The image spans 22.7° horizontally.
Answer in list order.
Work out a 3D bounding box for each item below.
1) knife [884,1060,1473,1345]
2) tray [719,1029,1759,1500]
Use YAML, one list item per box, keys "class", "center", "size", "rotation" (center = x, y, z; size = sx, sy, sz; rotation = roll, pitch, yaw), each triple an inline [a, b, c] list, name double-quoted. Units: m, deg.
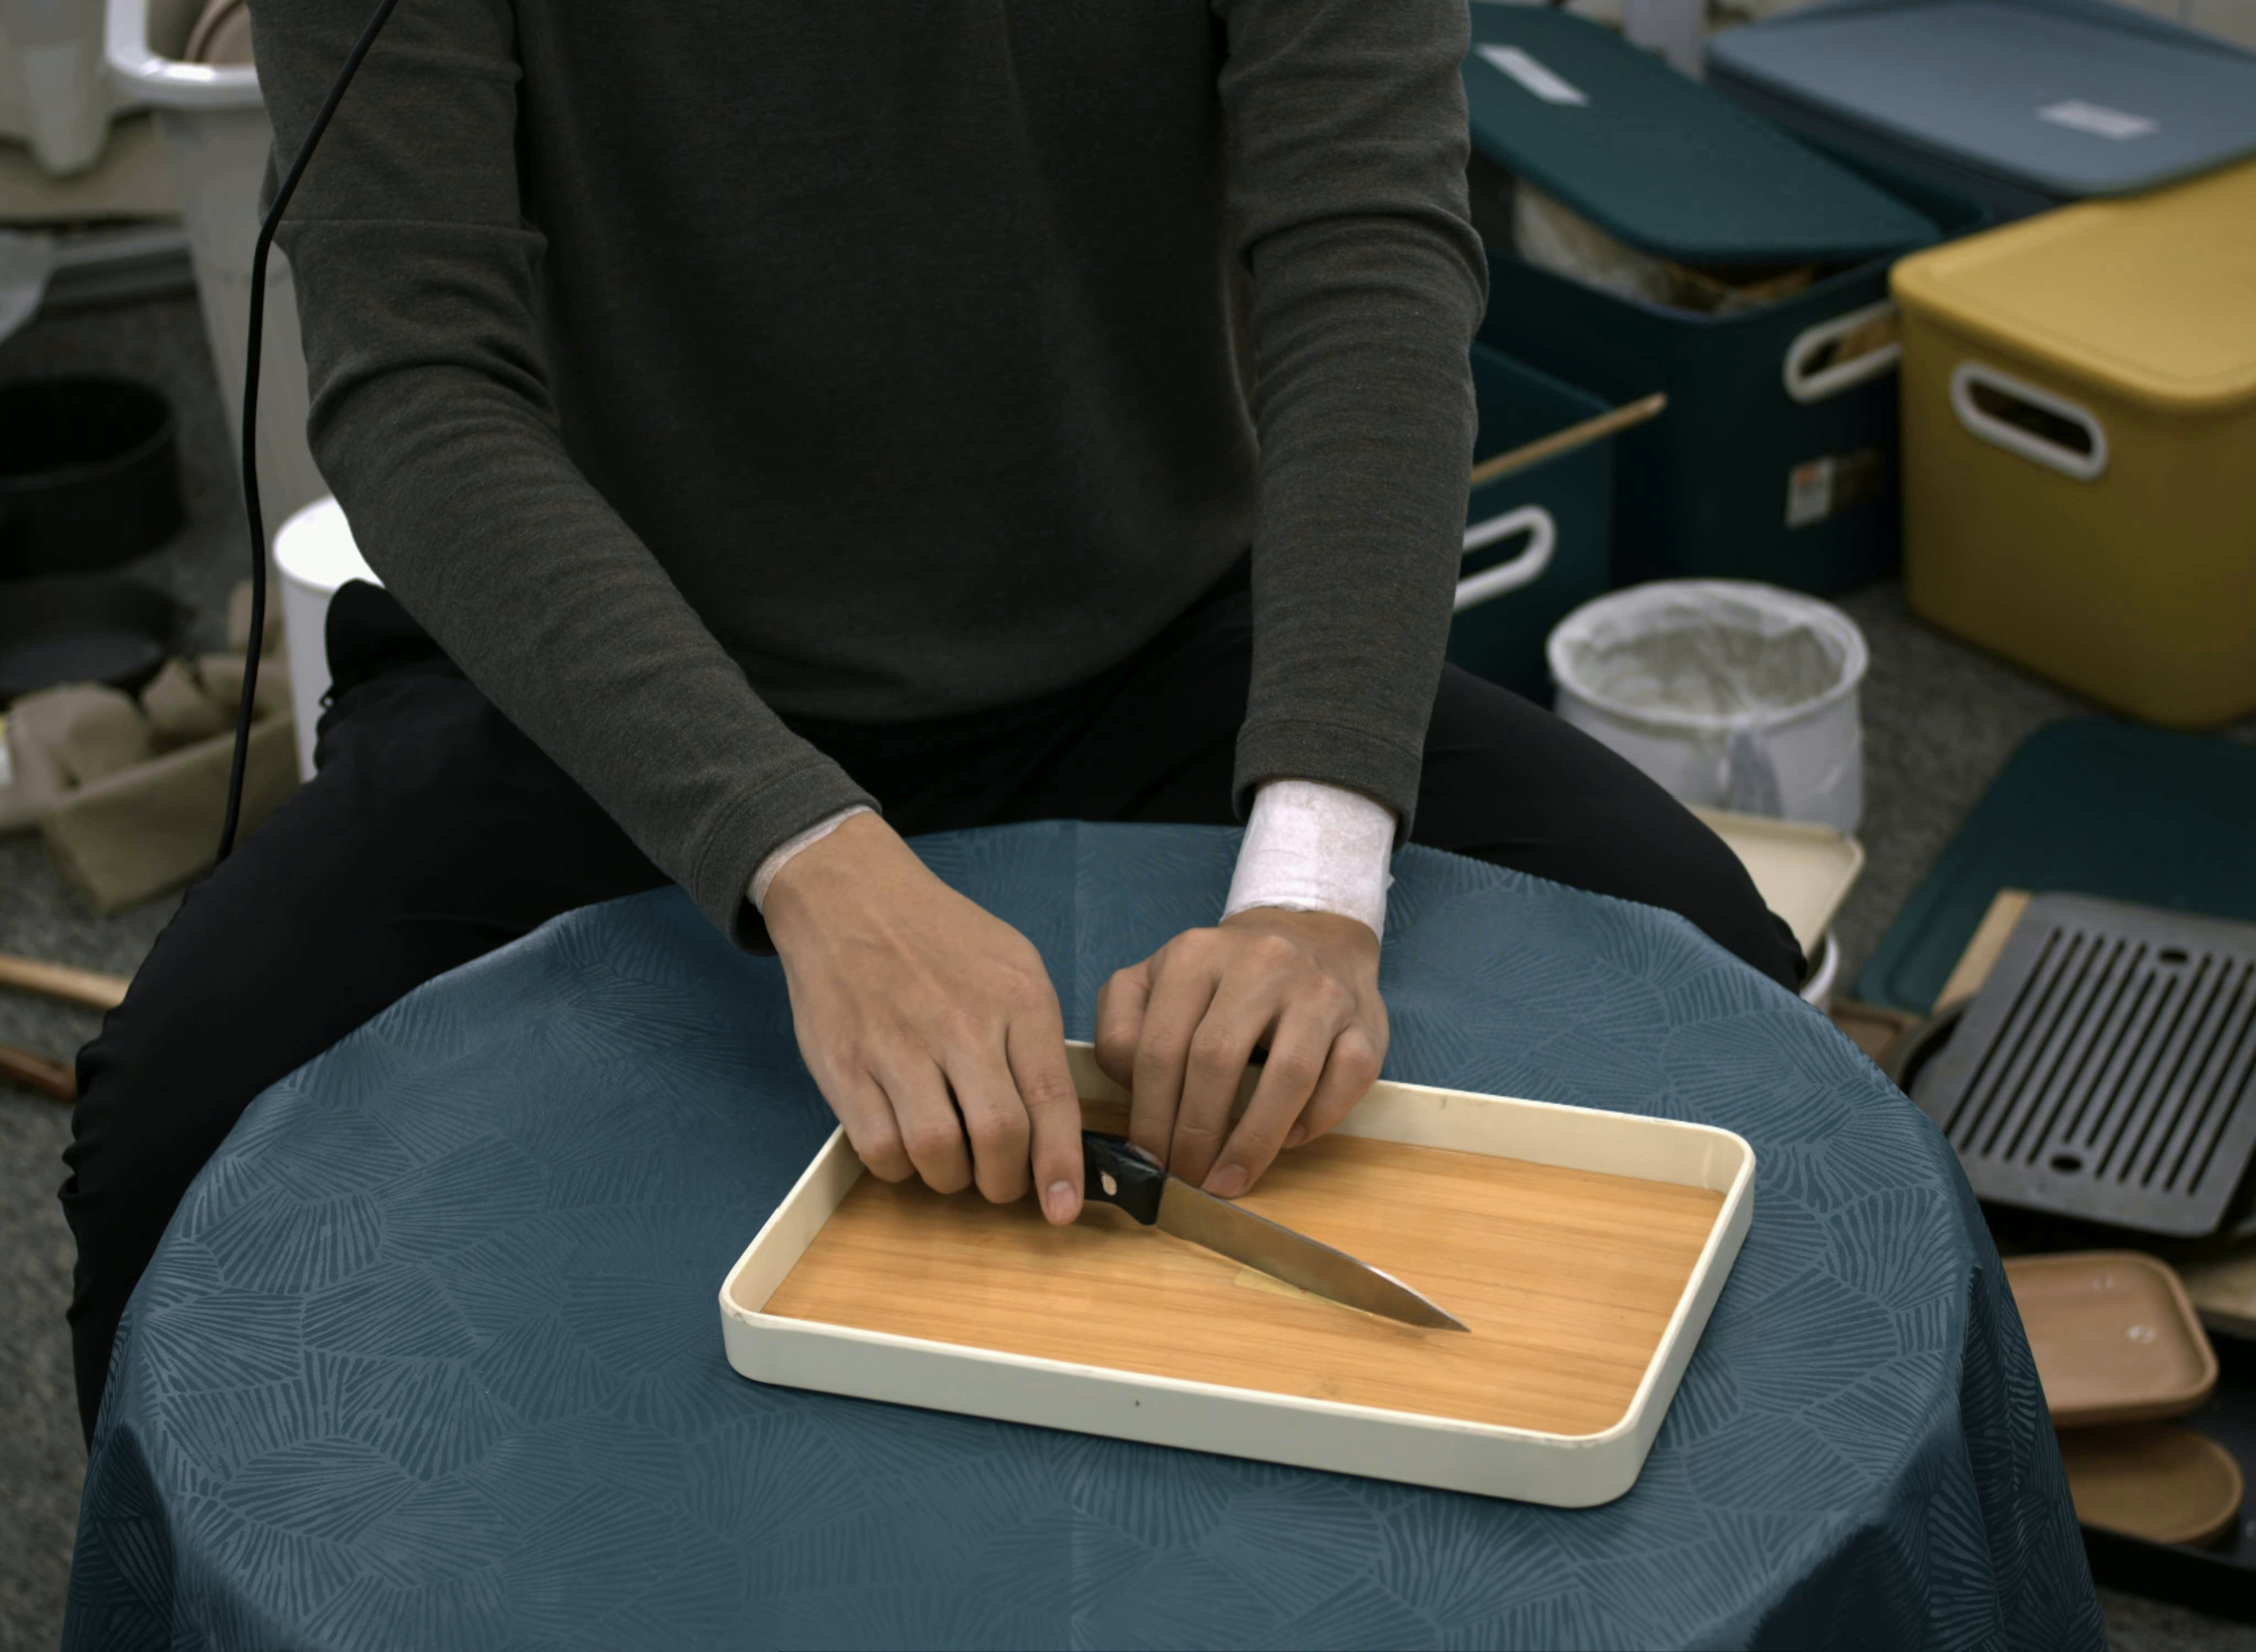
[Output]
- class: "knife"
  center: [0.014, 0.121, 1.812]
  size: [0.237, 0.024, 0.016]
  rotation: [22, 33, 32]
- class: "tray"
  center: [0.038, 0.137, 1.800]
  size: [0.298, 0.027, 0.195]
  rotation: [7, 28, 18]
